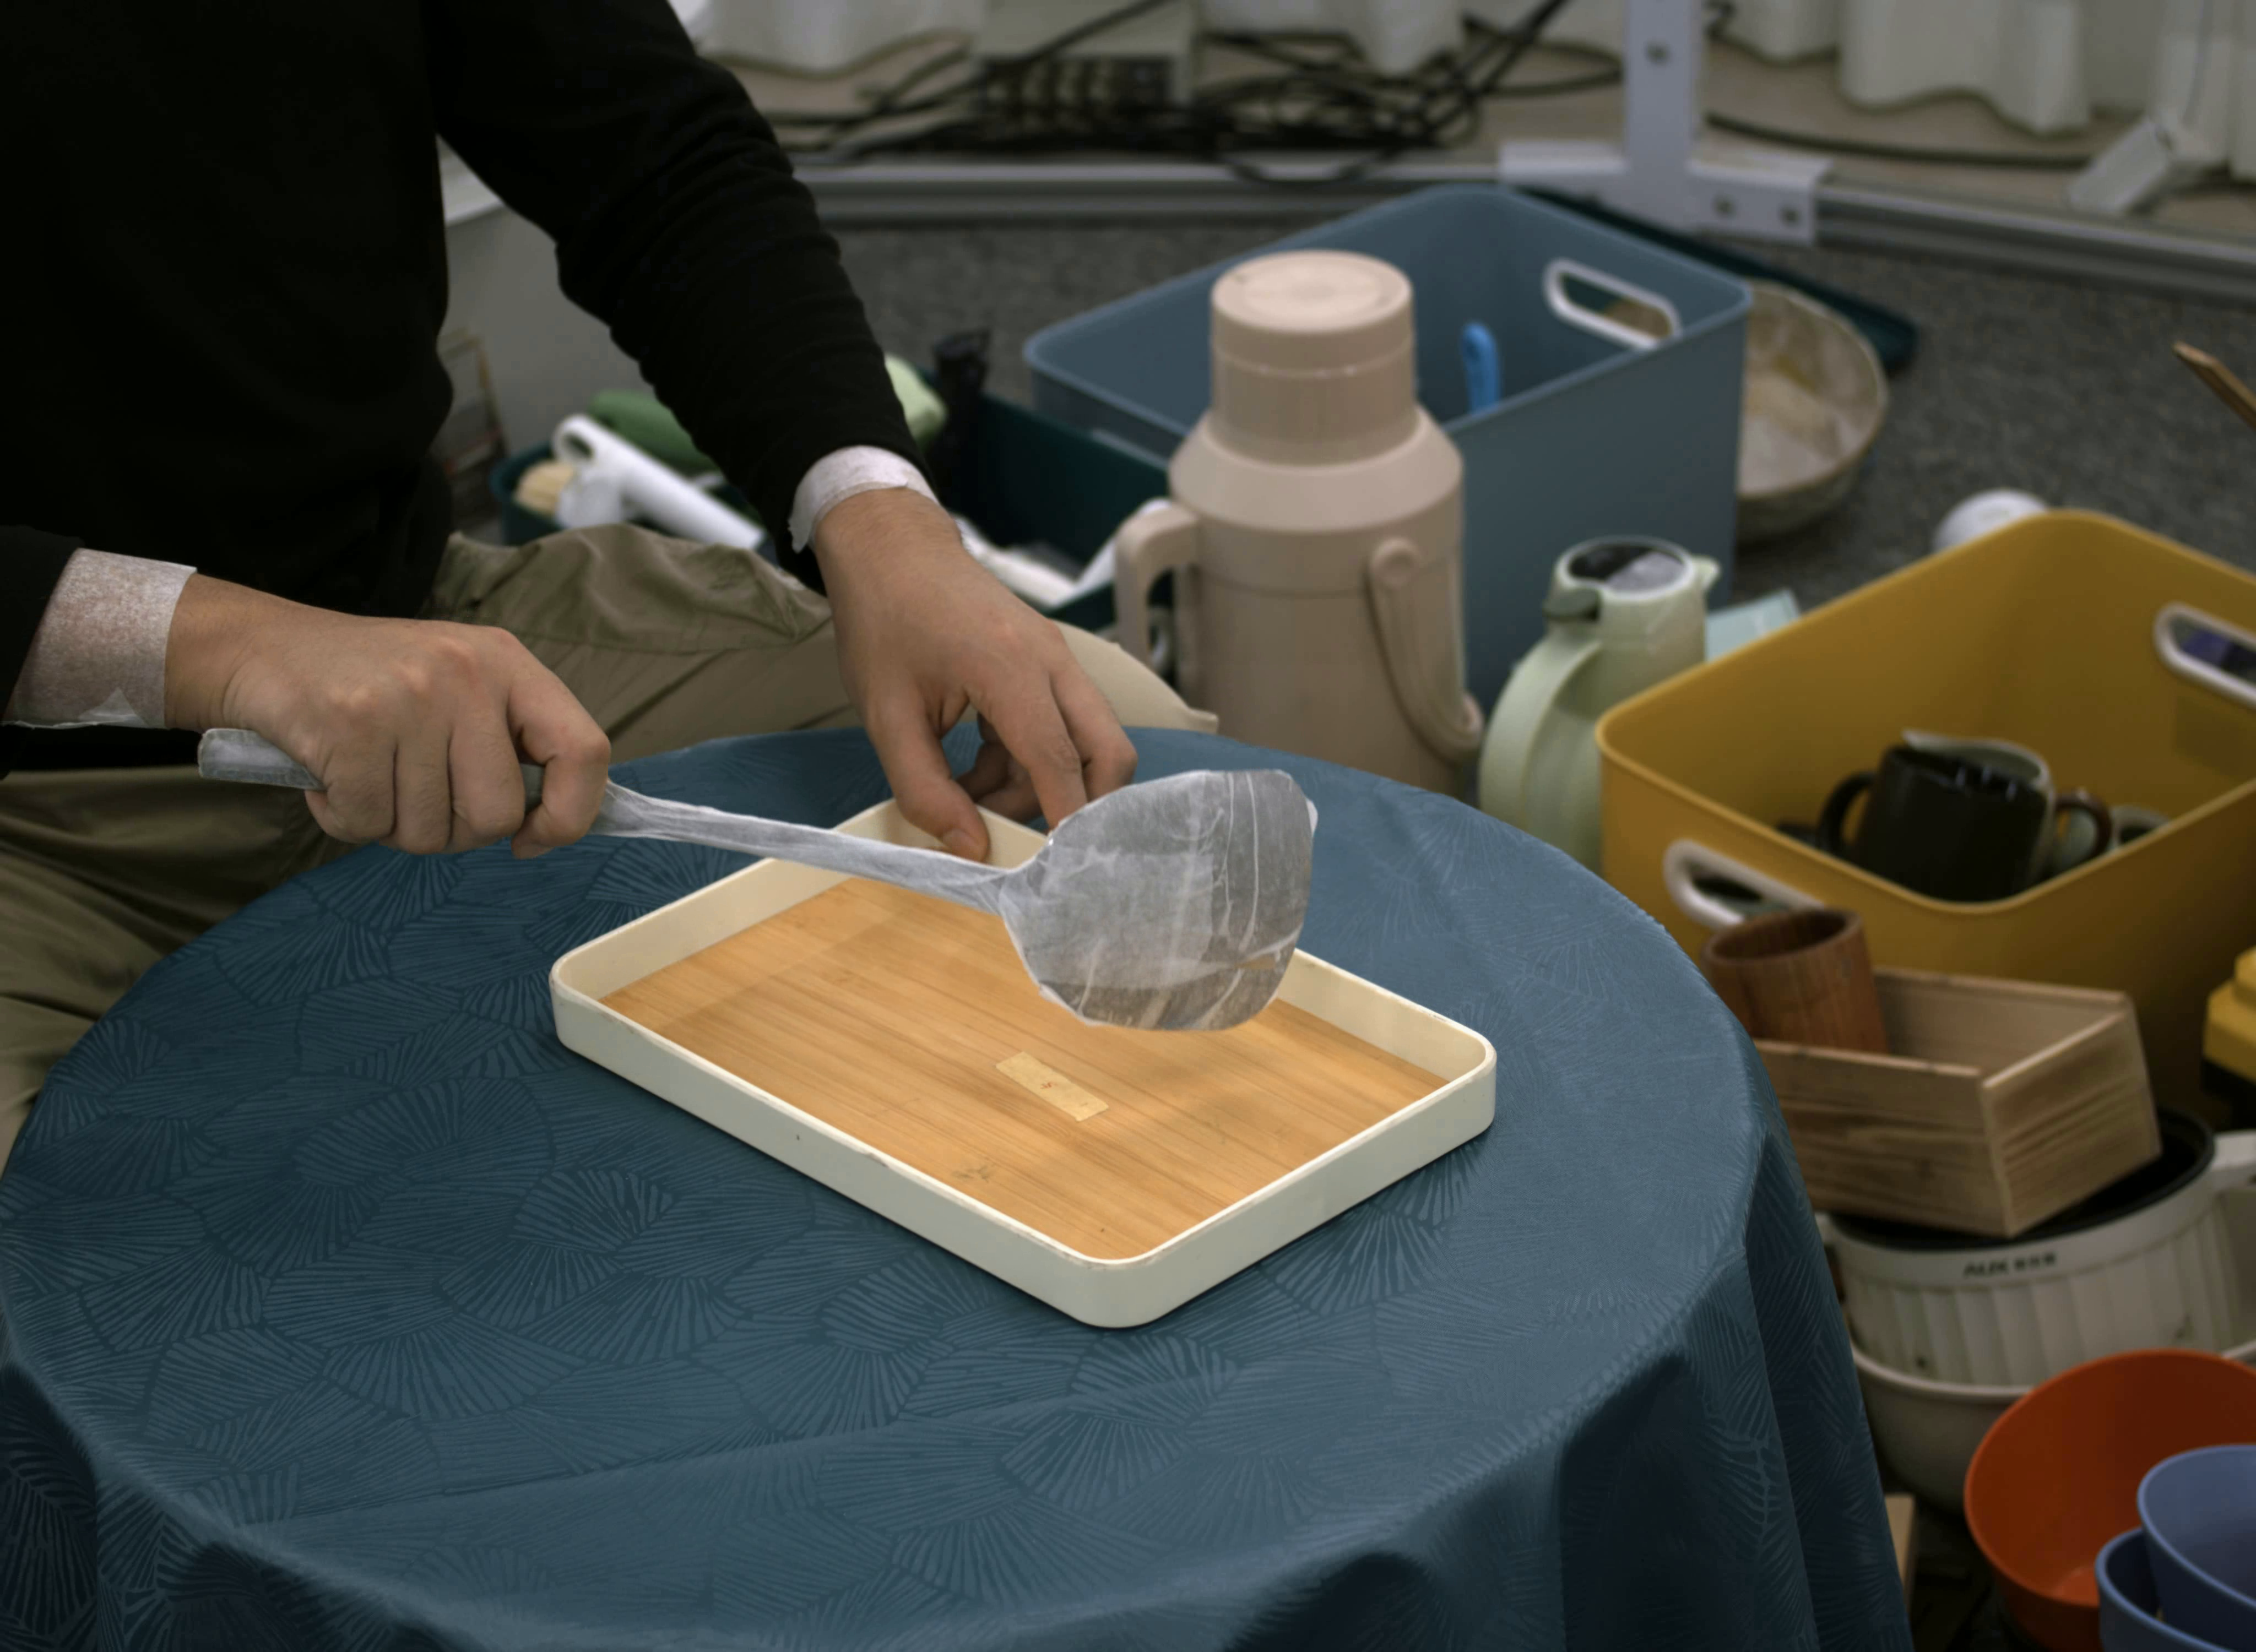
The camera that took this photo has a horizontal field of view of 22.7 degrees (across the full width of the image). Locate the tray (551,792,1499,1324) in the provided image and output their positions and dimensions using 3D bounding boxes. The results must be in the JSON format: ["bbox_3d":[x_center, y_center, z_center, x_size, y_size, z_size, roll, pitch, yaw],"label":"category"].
[{"bbox_3d":[-0.038,0.074,1.927,0.194,0.027,0.300,-25,35,-36],"label":"tray"}]

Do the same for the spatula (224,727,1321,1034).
[{"bbox_3d":[-0.116,0.002,1.865,0.363,0.098,0.045,11,20,-3],"label":"spatula"}]
